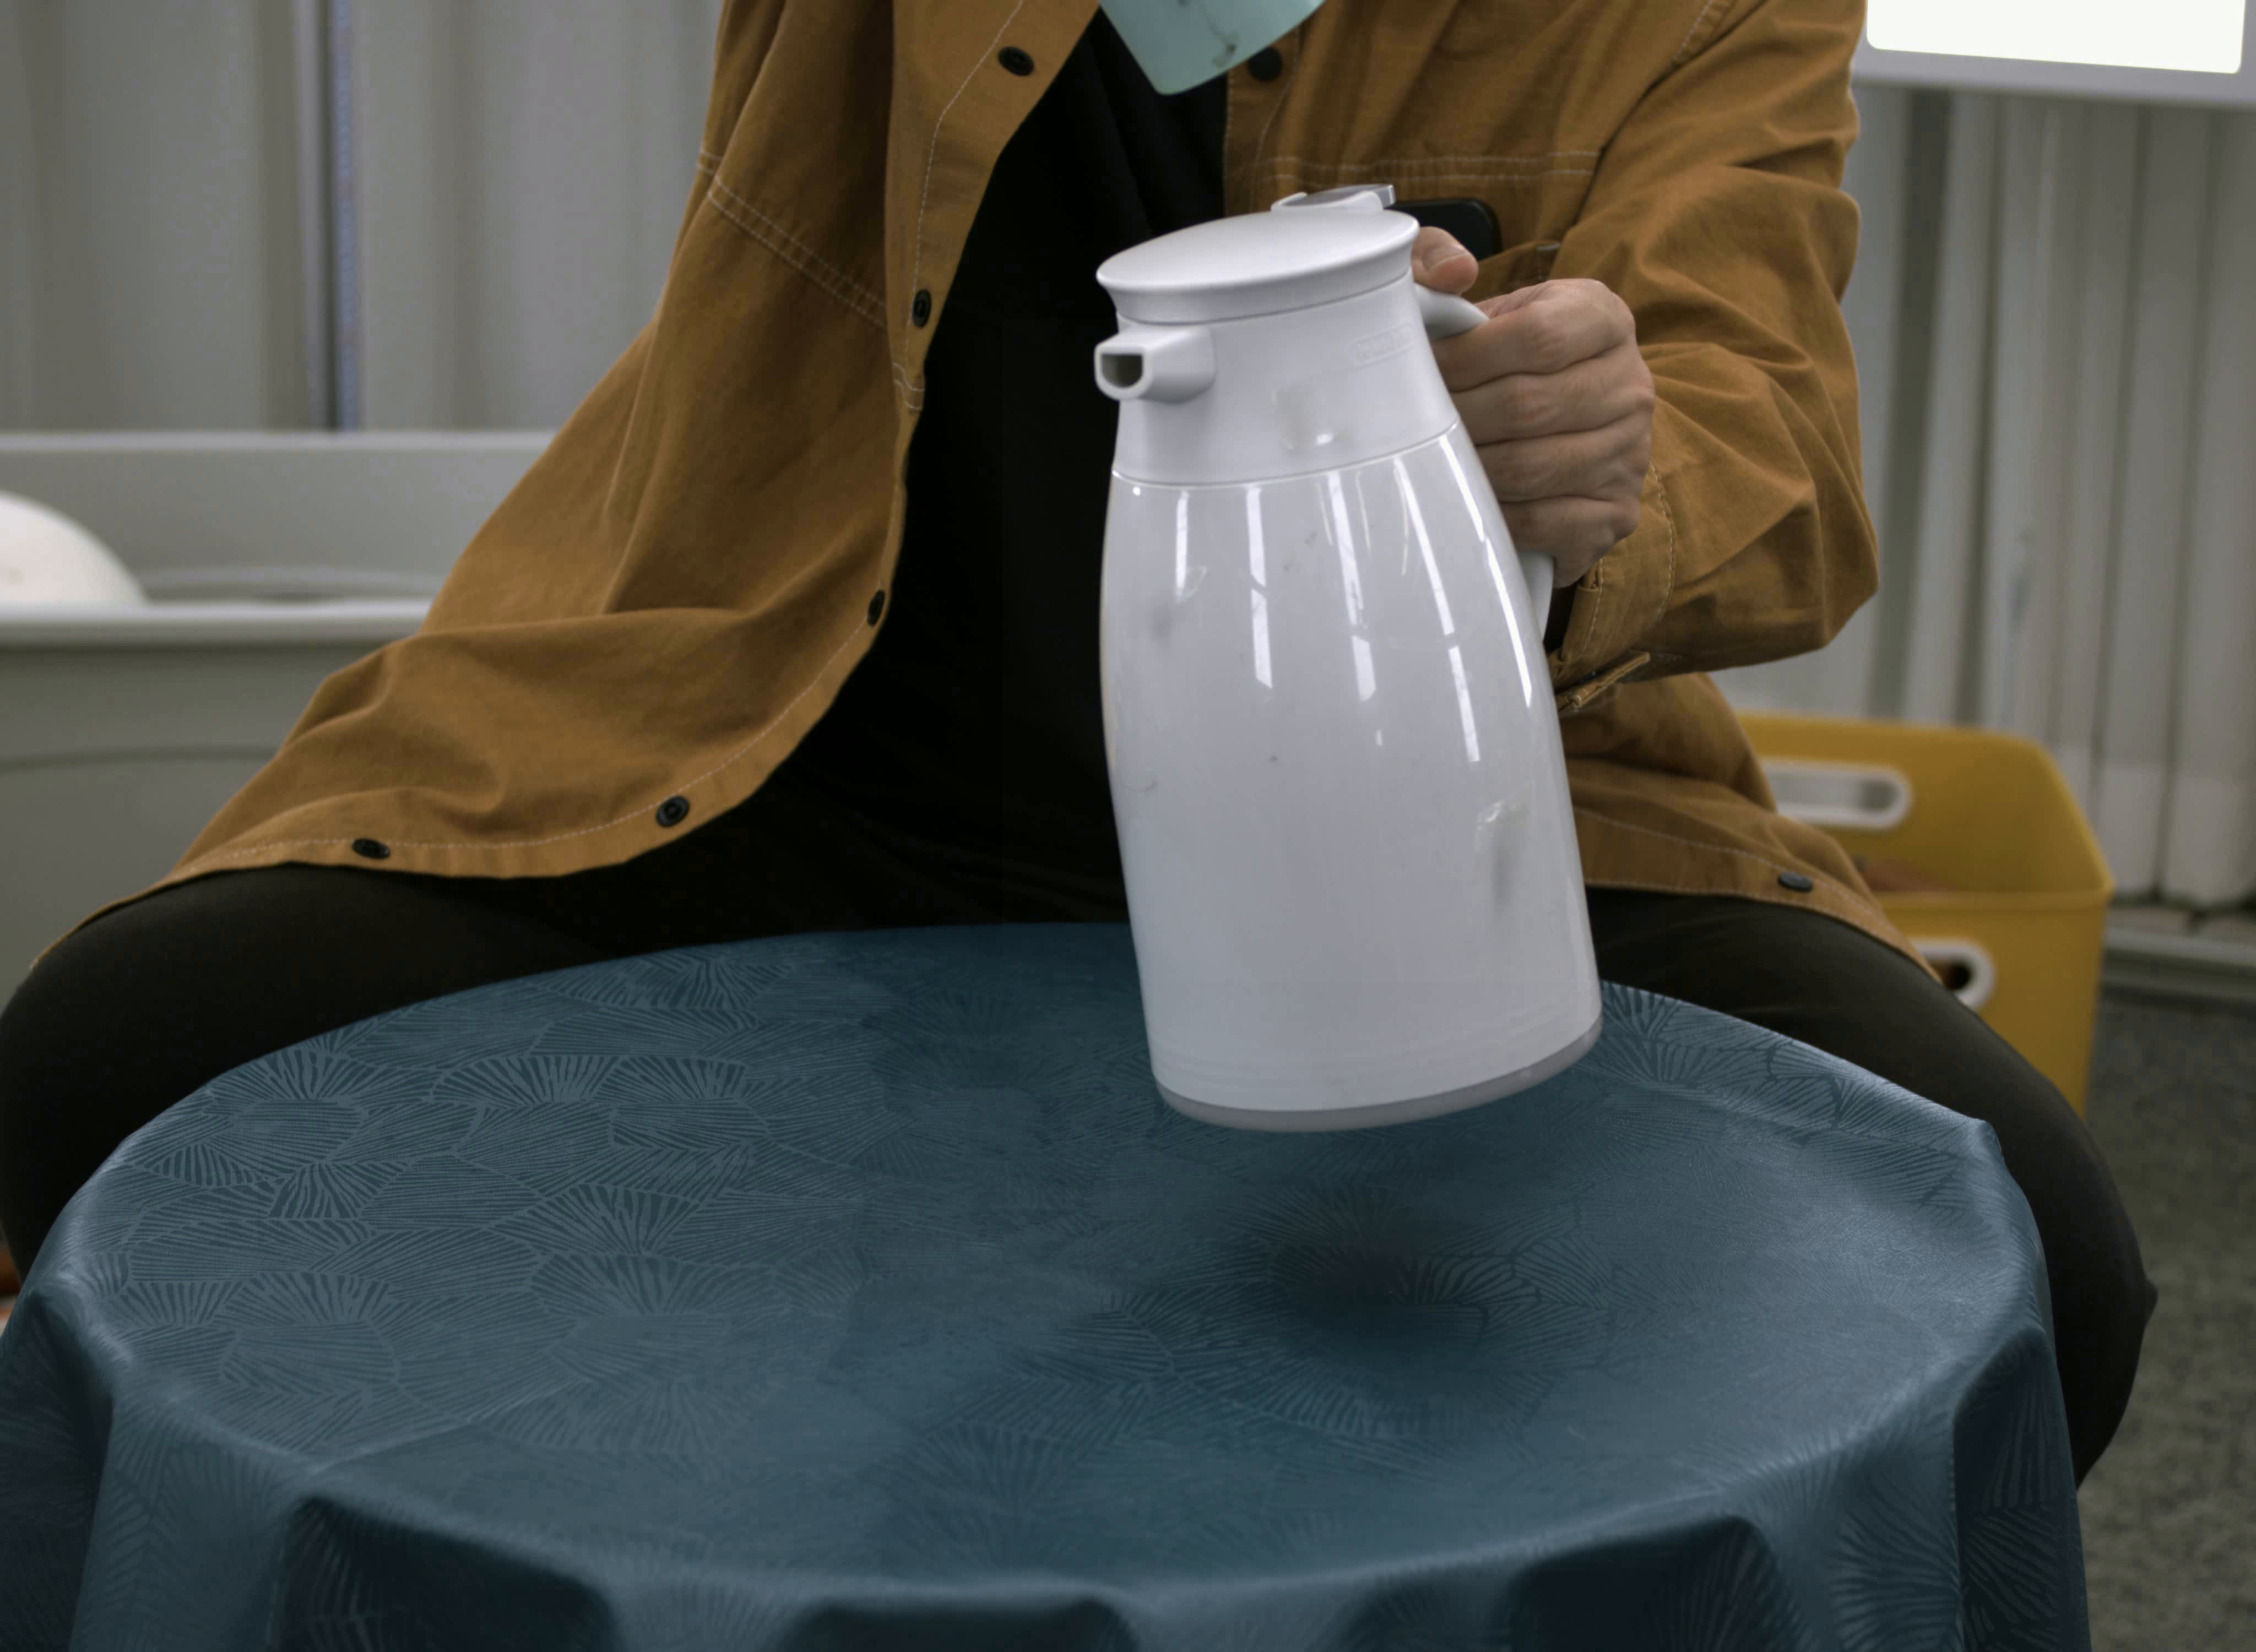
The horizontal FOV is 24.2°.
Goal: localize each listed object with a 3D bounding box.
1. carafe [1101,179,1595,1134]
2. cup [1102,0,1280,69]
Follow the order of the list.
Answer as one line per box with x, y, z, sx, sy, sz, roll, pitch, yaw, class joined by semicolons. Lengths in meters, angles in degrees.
0.066;-0.057;1.507;0.131;0.251;0.168;8;22;42;carafe
-0.005;-0.276;1.413;0.066;0.134;0.066;-29;23;14;cup
